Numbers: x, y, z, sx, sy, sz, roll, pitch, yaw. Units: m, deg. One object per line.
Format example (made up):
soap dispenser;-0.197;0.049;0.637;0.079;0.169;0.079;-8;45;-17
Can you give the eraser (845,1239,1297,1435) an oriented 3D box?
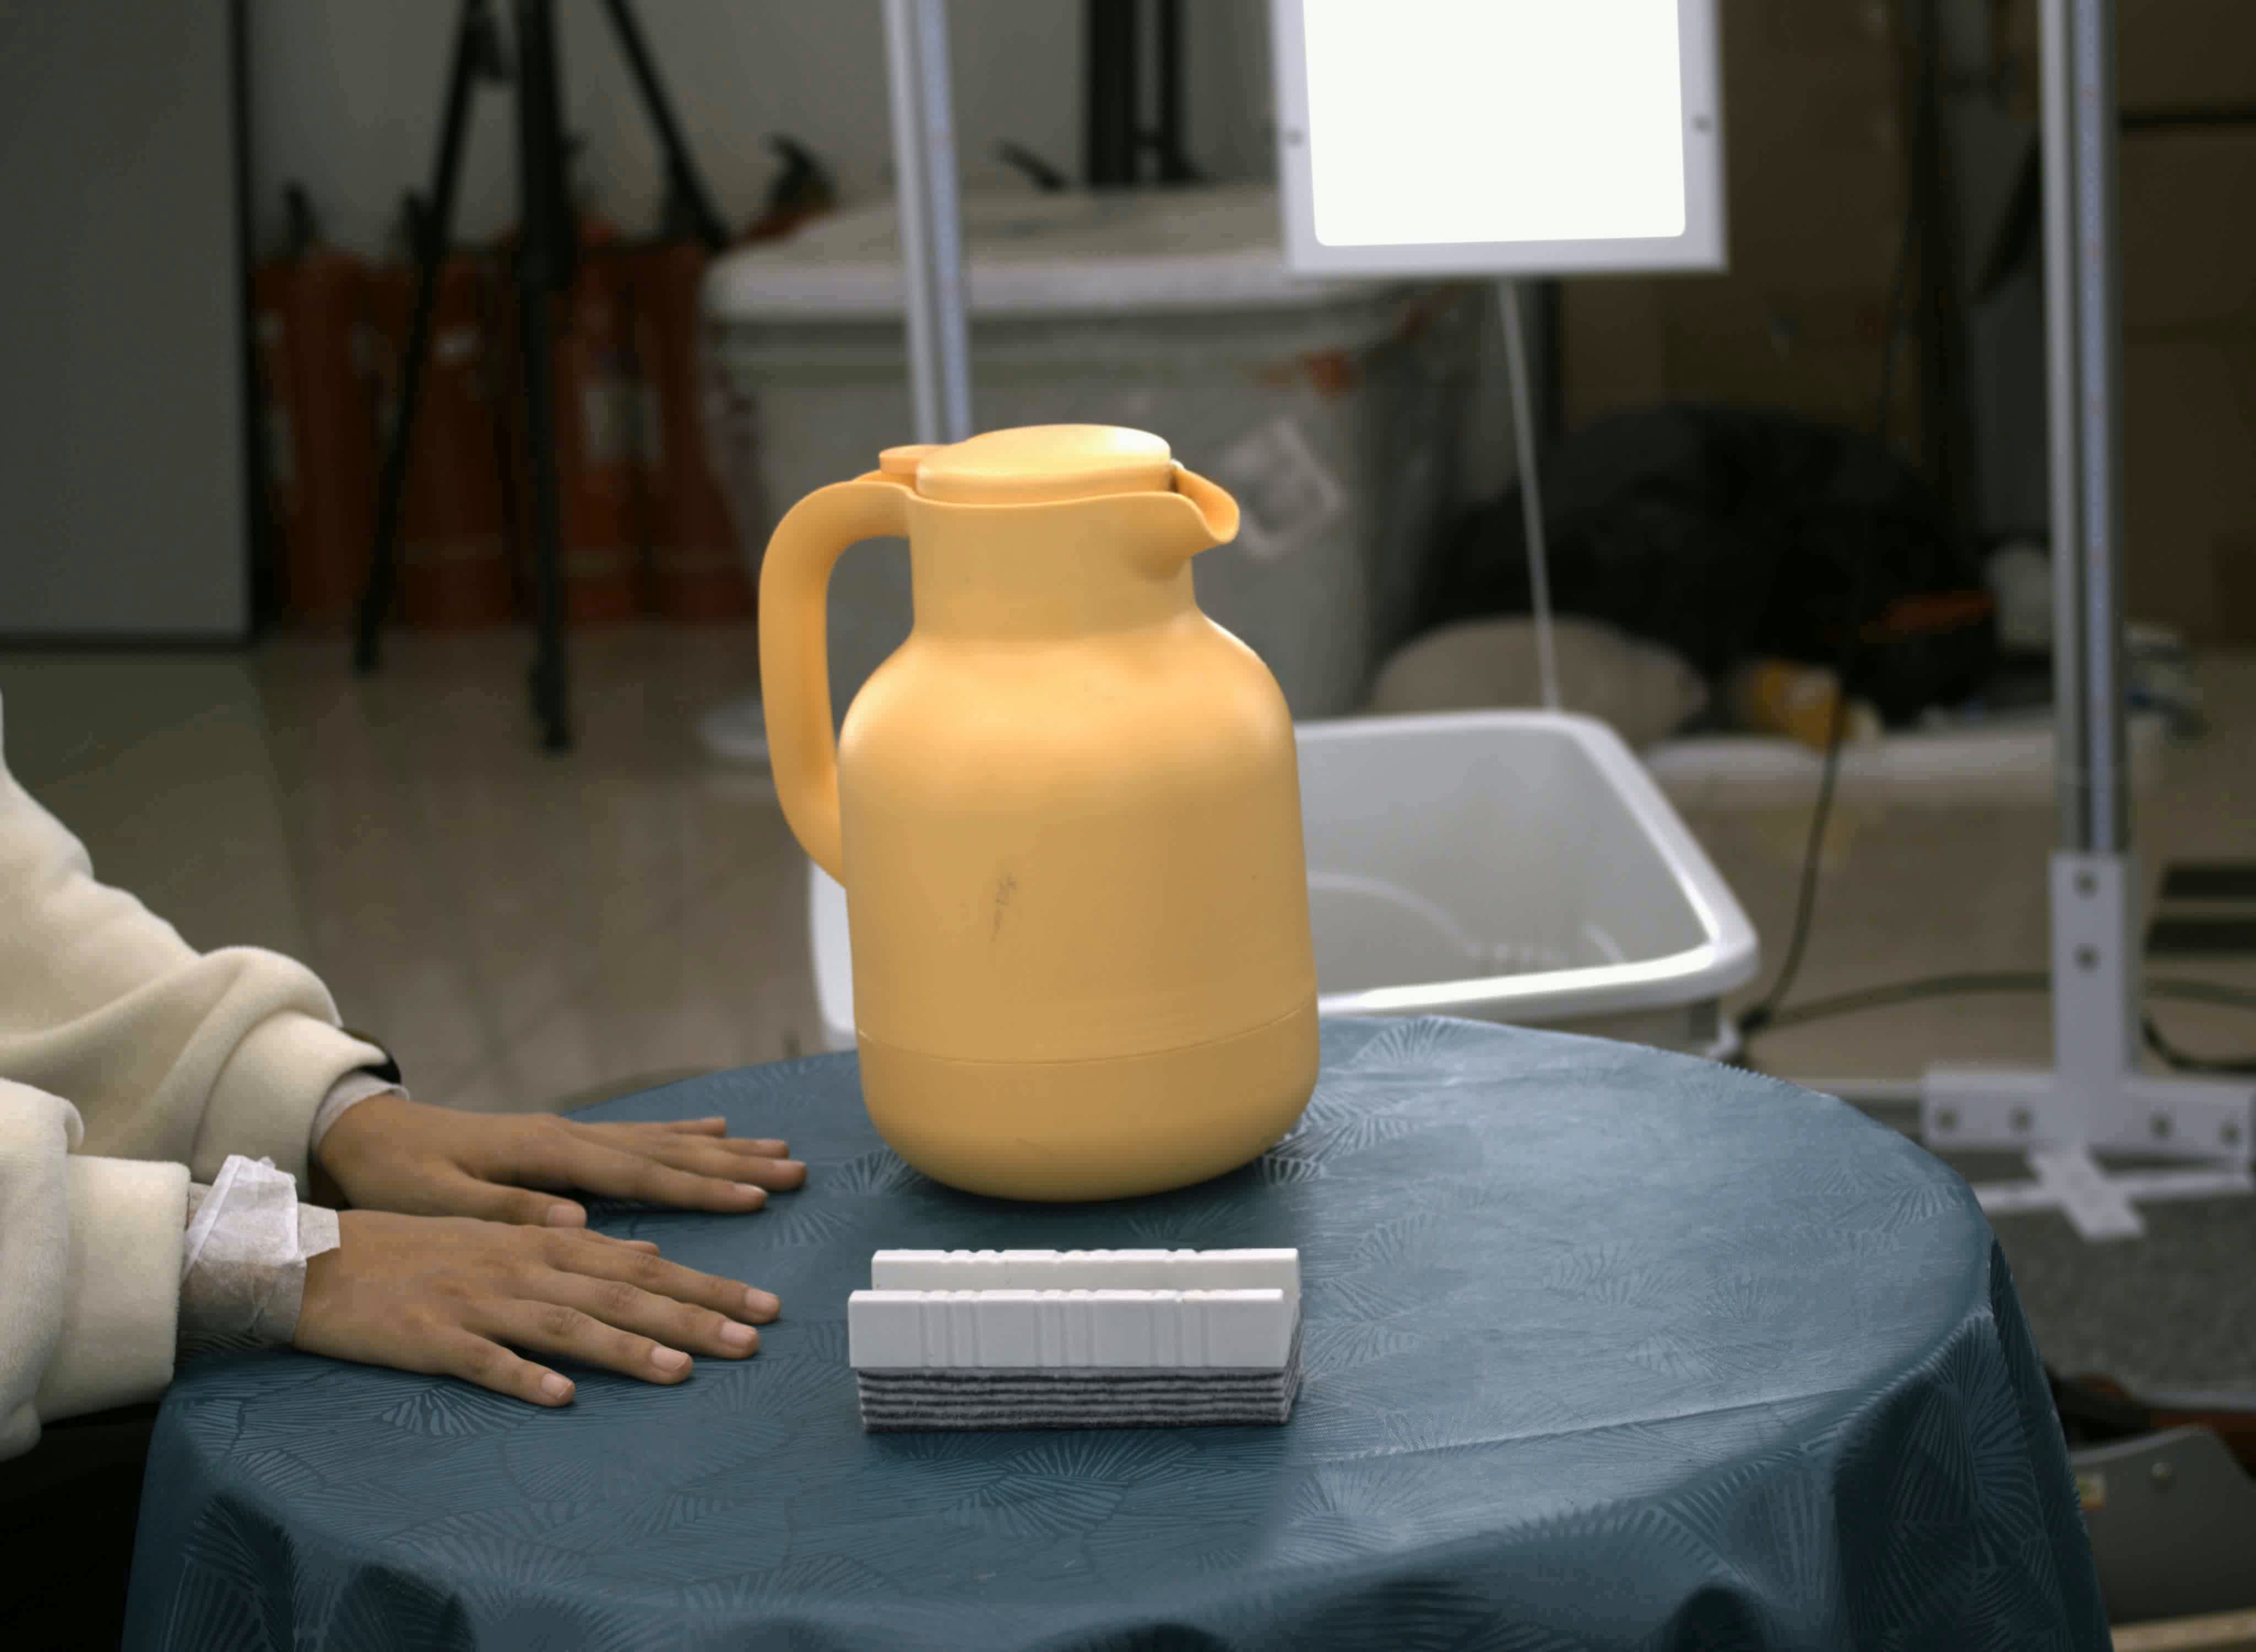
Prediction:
eraser;-0.016;0.156;1.685;0.135;0.047;0.049;-2;17;9

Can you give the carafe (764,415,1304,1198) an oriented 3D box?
carafe;-0.037;-0.013;1.921;0.206;0.261;0.159;7;15;36
